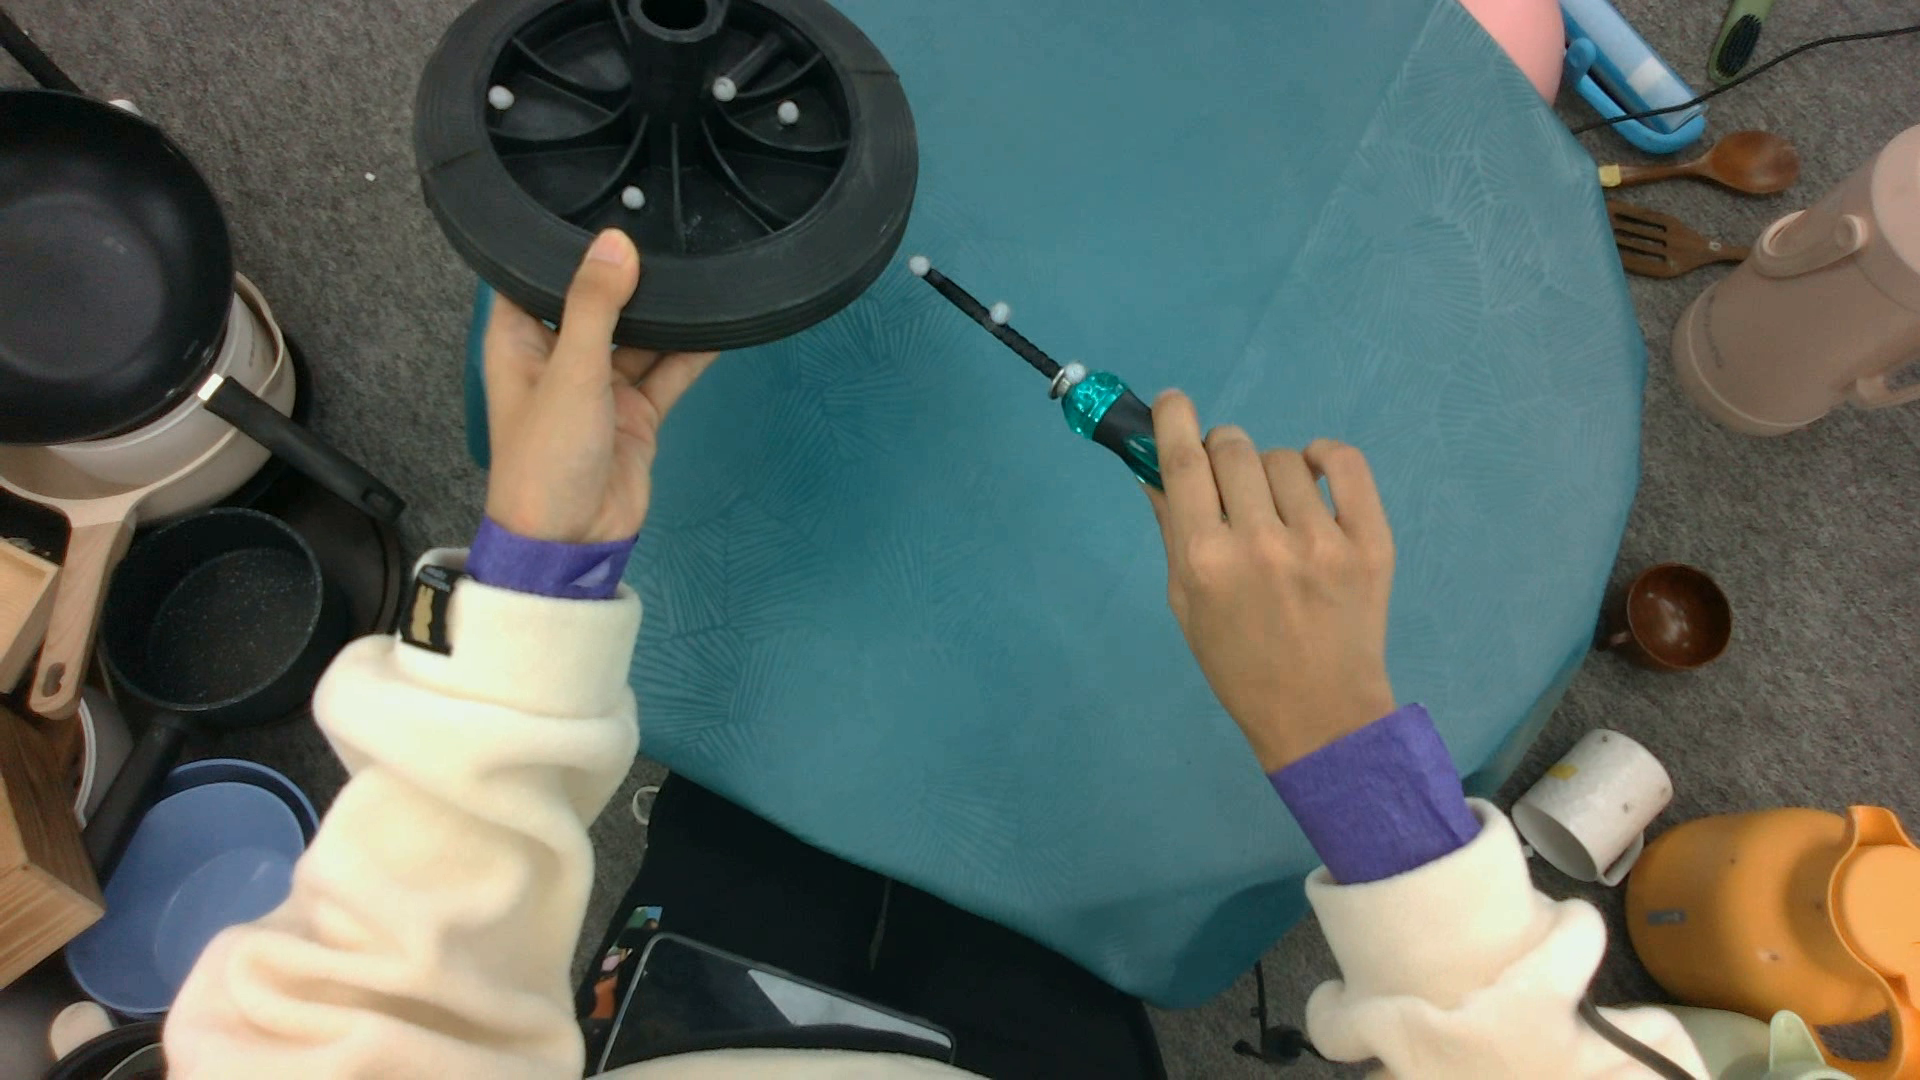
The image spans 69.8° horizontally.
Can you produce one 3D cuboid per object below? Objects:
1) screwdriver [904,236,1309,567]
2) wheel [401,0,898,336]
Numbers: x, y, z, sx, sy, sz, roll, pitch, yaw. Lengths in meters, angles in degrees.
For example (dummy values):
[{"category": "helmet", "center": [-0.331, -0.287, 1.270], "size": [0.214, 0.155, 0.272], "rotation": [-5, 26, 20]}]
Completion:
[{"category": "screwdriver", "center": [0.049, -0.058, 0.513], "size": [0.190, 0.033, 0.034], "rotation": [41, 75, 16]}, {"category": "wheel", "center": [-0.113, -0.170, 0.518], "size": [0.187, 0.079, 0.190], "rotation": [13, 58, -6]}]
